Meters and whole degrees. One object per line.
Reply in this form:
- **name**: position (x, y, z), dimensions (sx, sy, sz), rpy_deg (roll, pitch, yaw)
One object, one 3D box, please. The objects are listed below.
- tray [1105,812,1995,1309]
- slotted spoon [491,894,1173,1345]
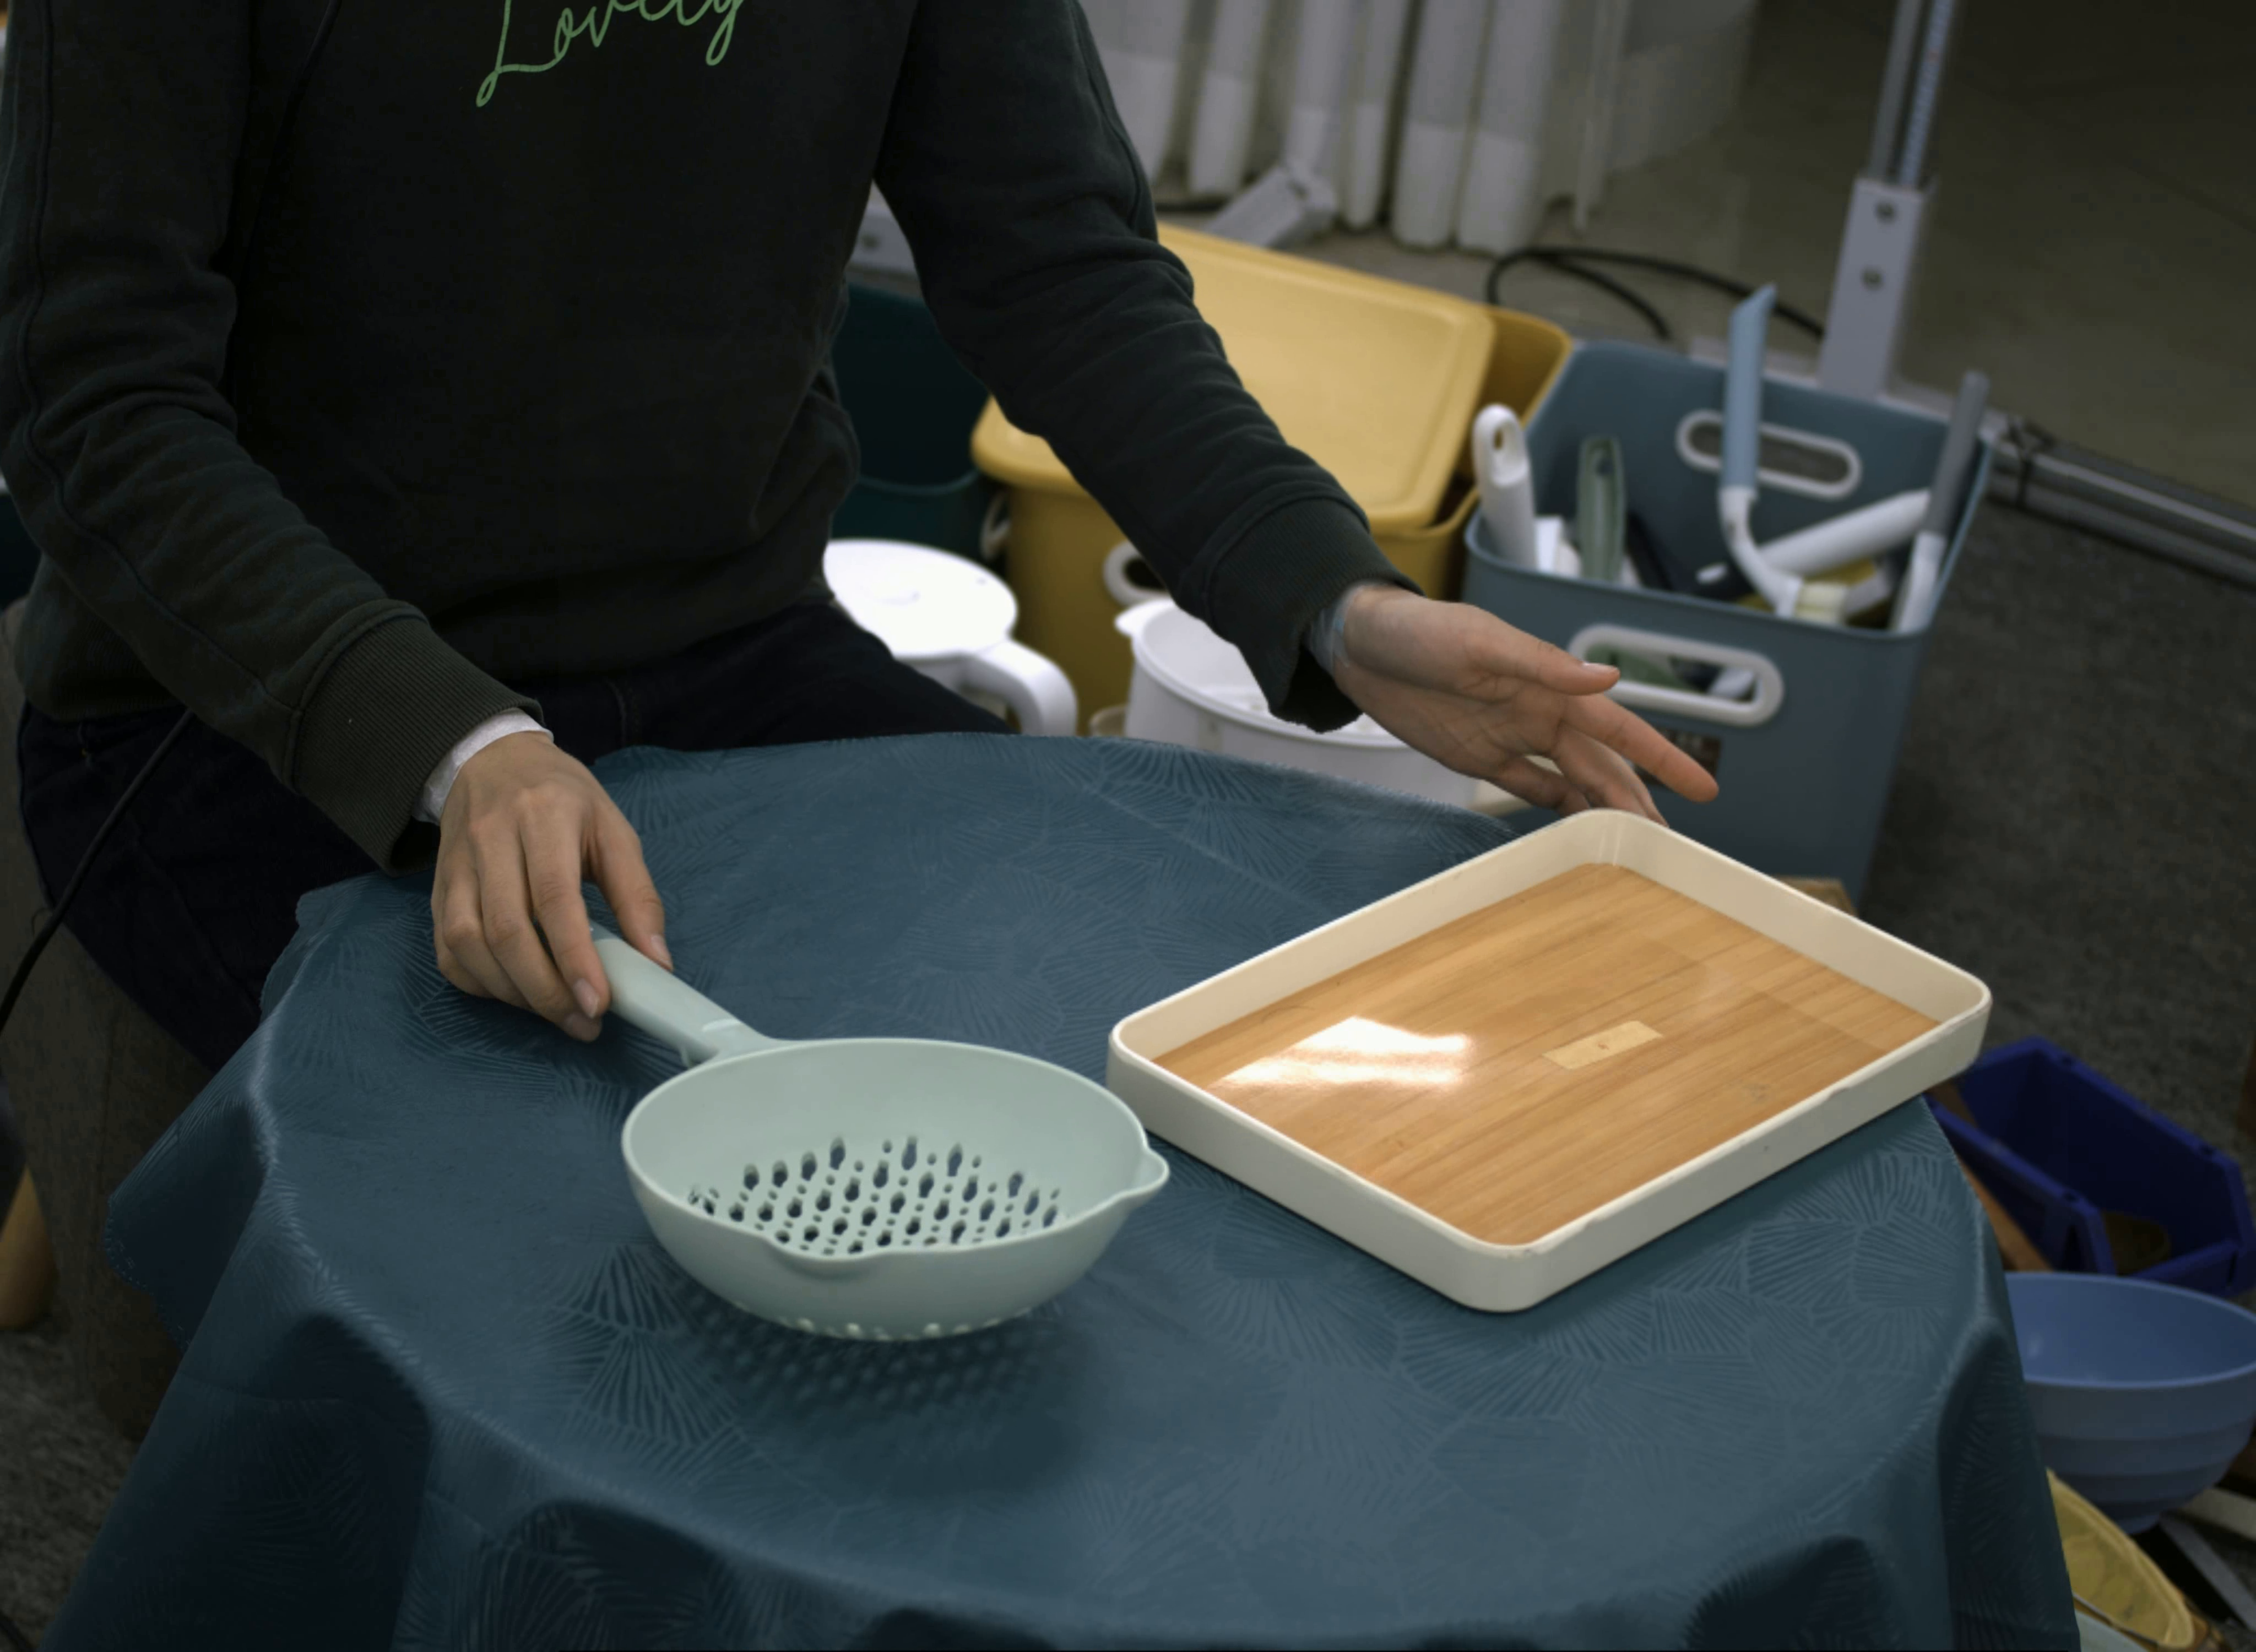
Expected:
- **tray**: position (0.153, 0.078, 1.896), dimensions (0.193, 0.027, 0.299), rpy_deg (27, 33, 35)
- **slotted spoon**: position (-0.130, 0.082, 1.782), dimensions (0.168, 0.075, 0.362), rpy_deg (-10, 31, -31)
